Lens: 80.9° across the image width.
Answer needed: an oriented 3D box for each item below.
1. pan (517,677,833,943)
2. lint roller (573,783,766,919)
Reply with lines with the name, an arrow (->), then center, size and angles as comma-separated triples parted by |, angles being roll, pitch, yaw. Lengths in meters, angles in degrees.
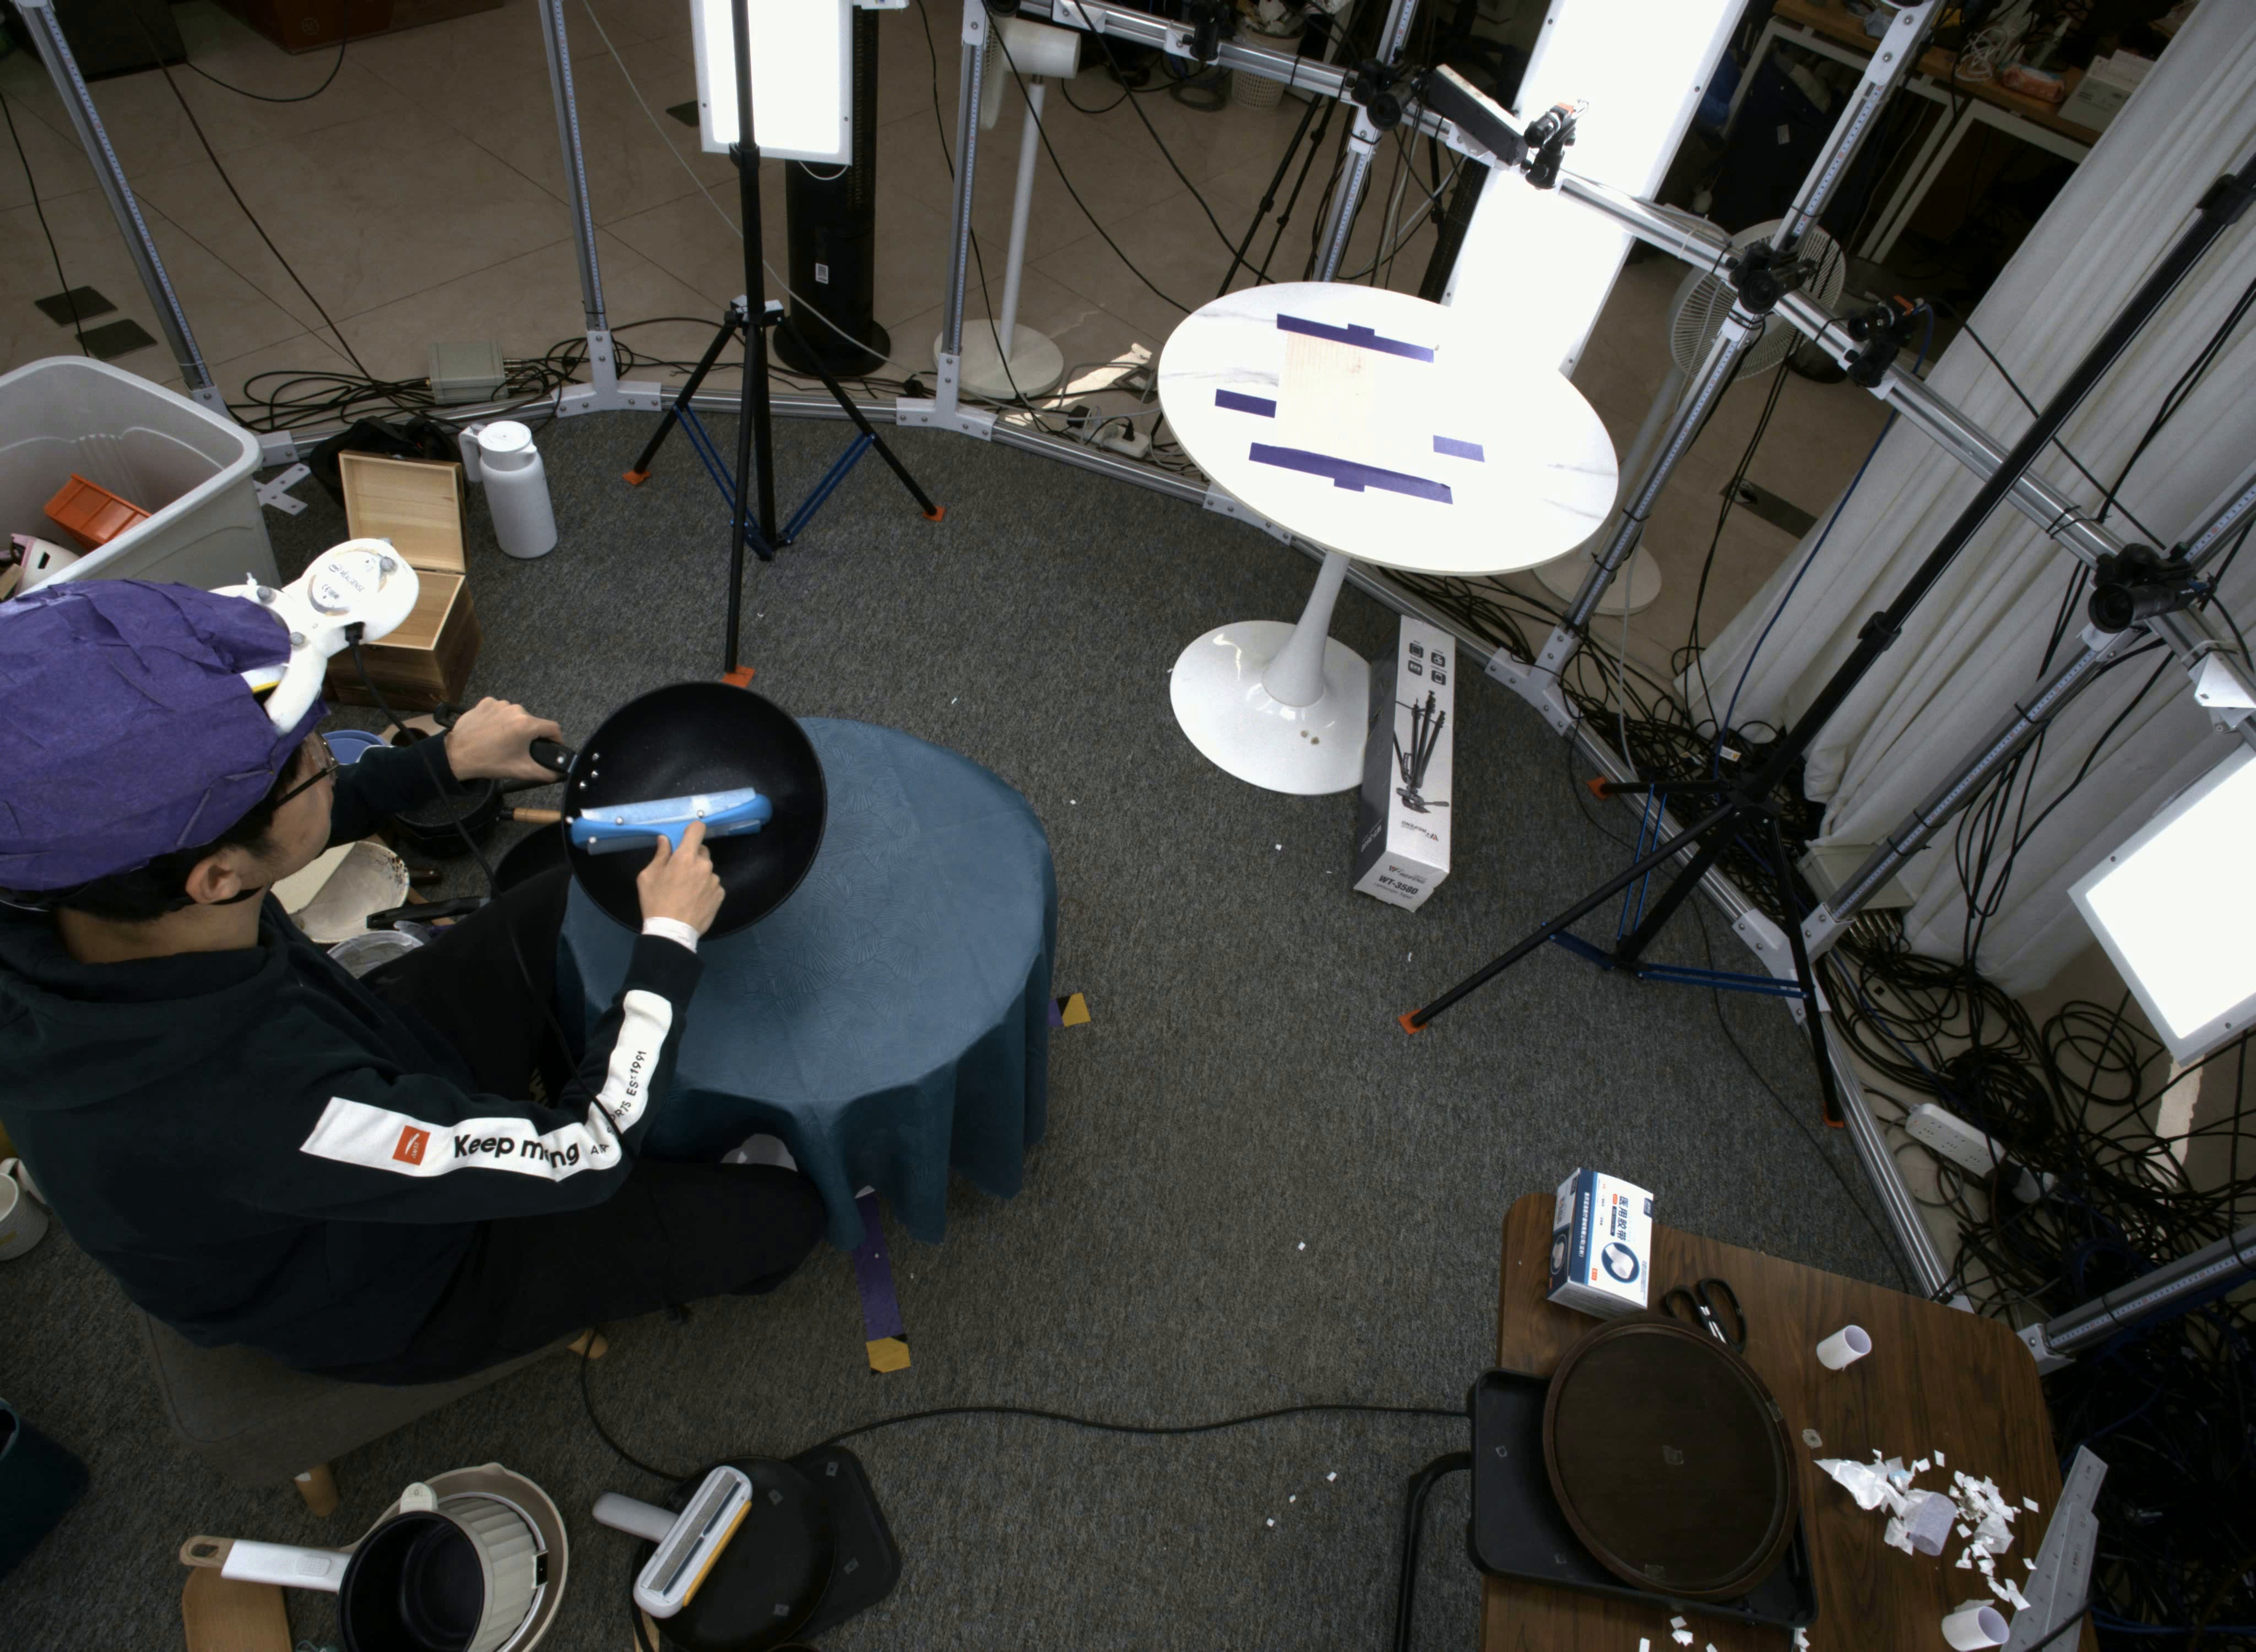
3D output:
pan -> -0.571, -0.044, 1.507 | 0.472, 0.112, 0.311 | 19, 78, 0
lint roller -> -0.510, 0.022, 1.456 | 0.231, 0.070, 0.174 | -10, 41, -28
